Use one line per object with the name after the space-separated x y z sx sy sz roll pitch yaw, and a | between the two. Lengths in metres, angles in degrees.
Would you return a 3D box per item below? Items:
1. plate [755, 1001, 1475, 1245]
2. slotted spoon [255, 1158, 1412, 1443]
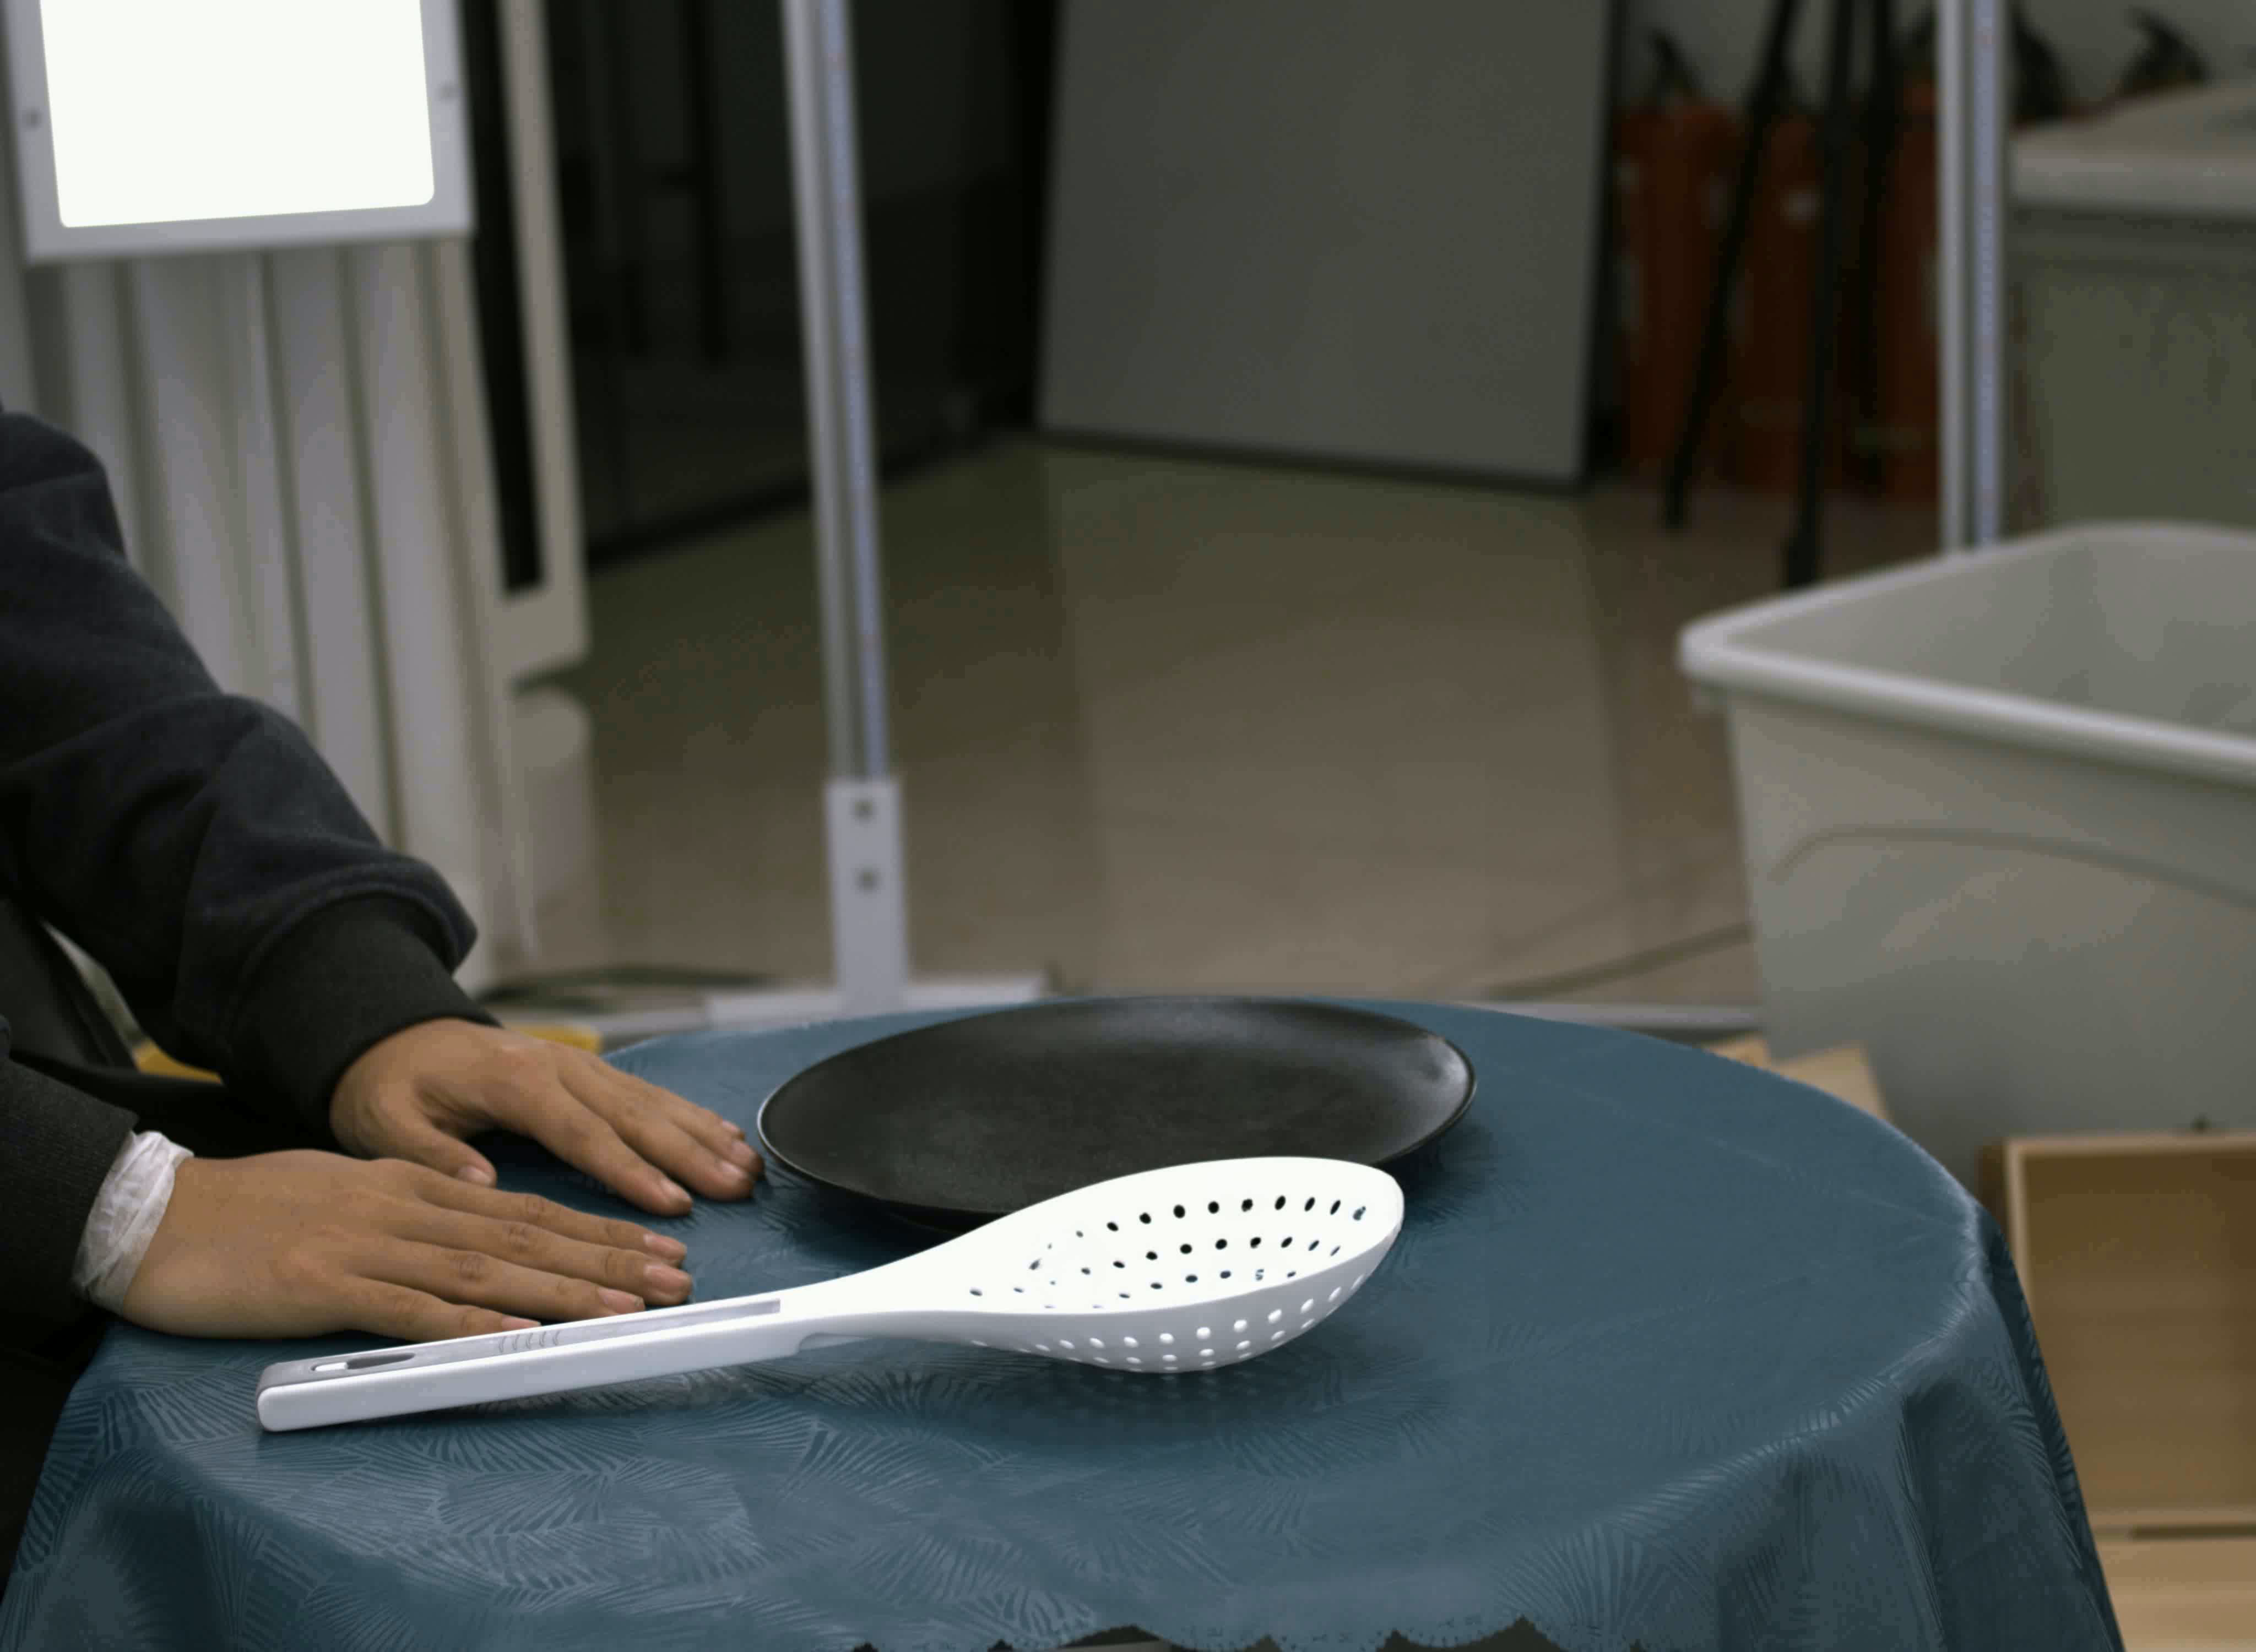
-0.004 0.102 1.800 0.241 0.024 0.245 -4 14 0 | plate
-0.086 0.144 1.601 0.345 0.046 0.136 -5 11 0 | slotted spoon
